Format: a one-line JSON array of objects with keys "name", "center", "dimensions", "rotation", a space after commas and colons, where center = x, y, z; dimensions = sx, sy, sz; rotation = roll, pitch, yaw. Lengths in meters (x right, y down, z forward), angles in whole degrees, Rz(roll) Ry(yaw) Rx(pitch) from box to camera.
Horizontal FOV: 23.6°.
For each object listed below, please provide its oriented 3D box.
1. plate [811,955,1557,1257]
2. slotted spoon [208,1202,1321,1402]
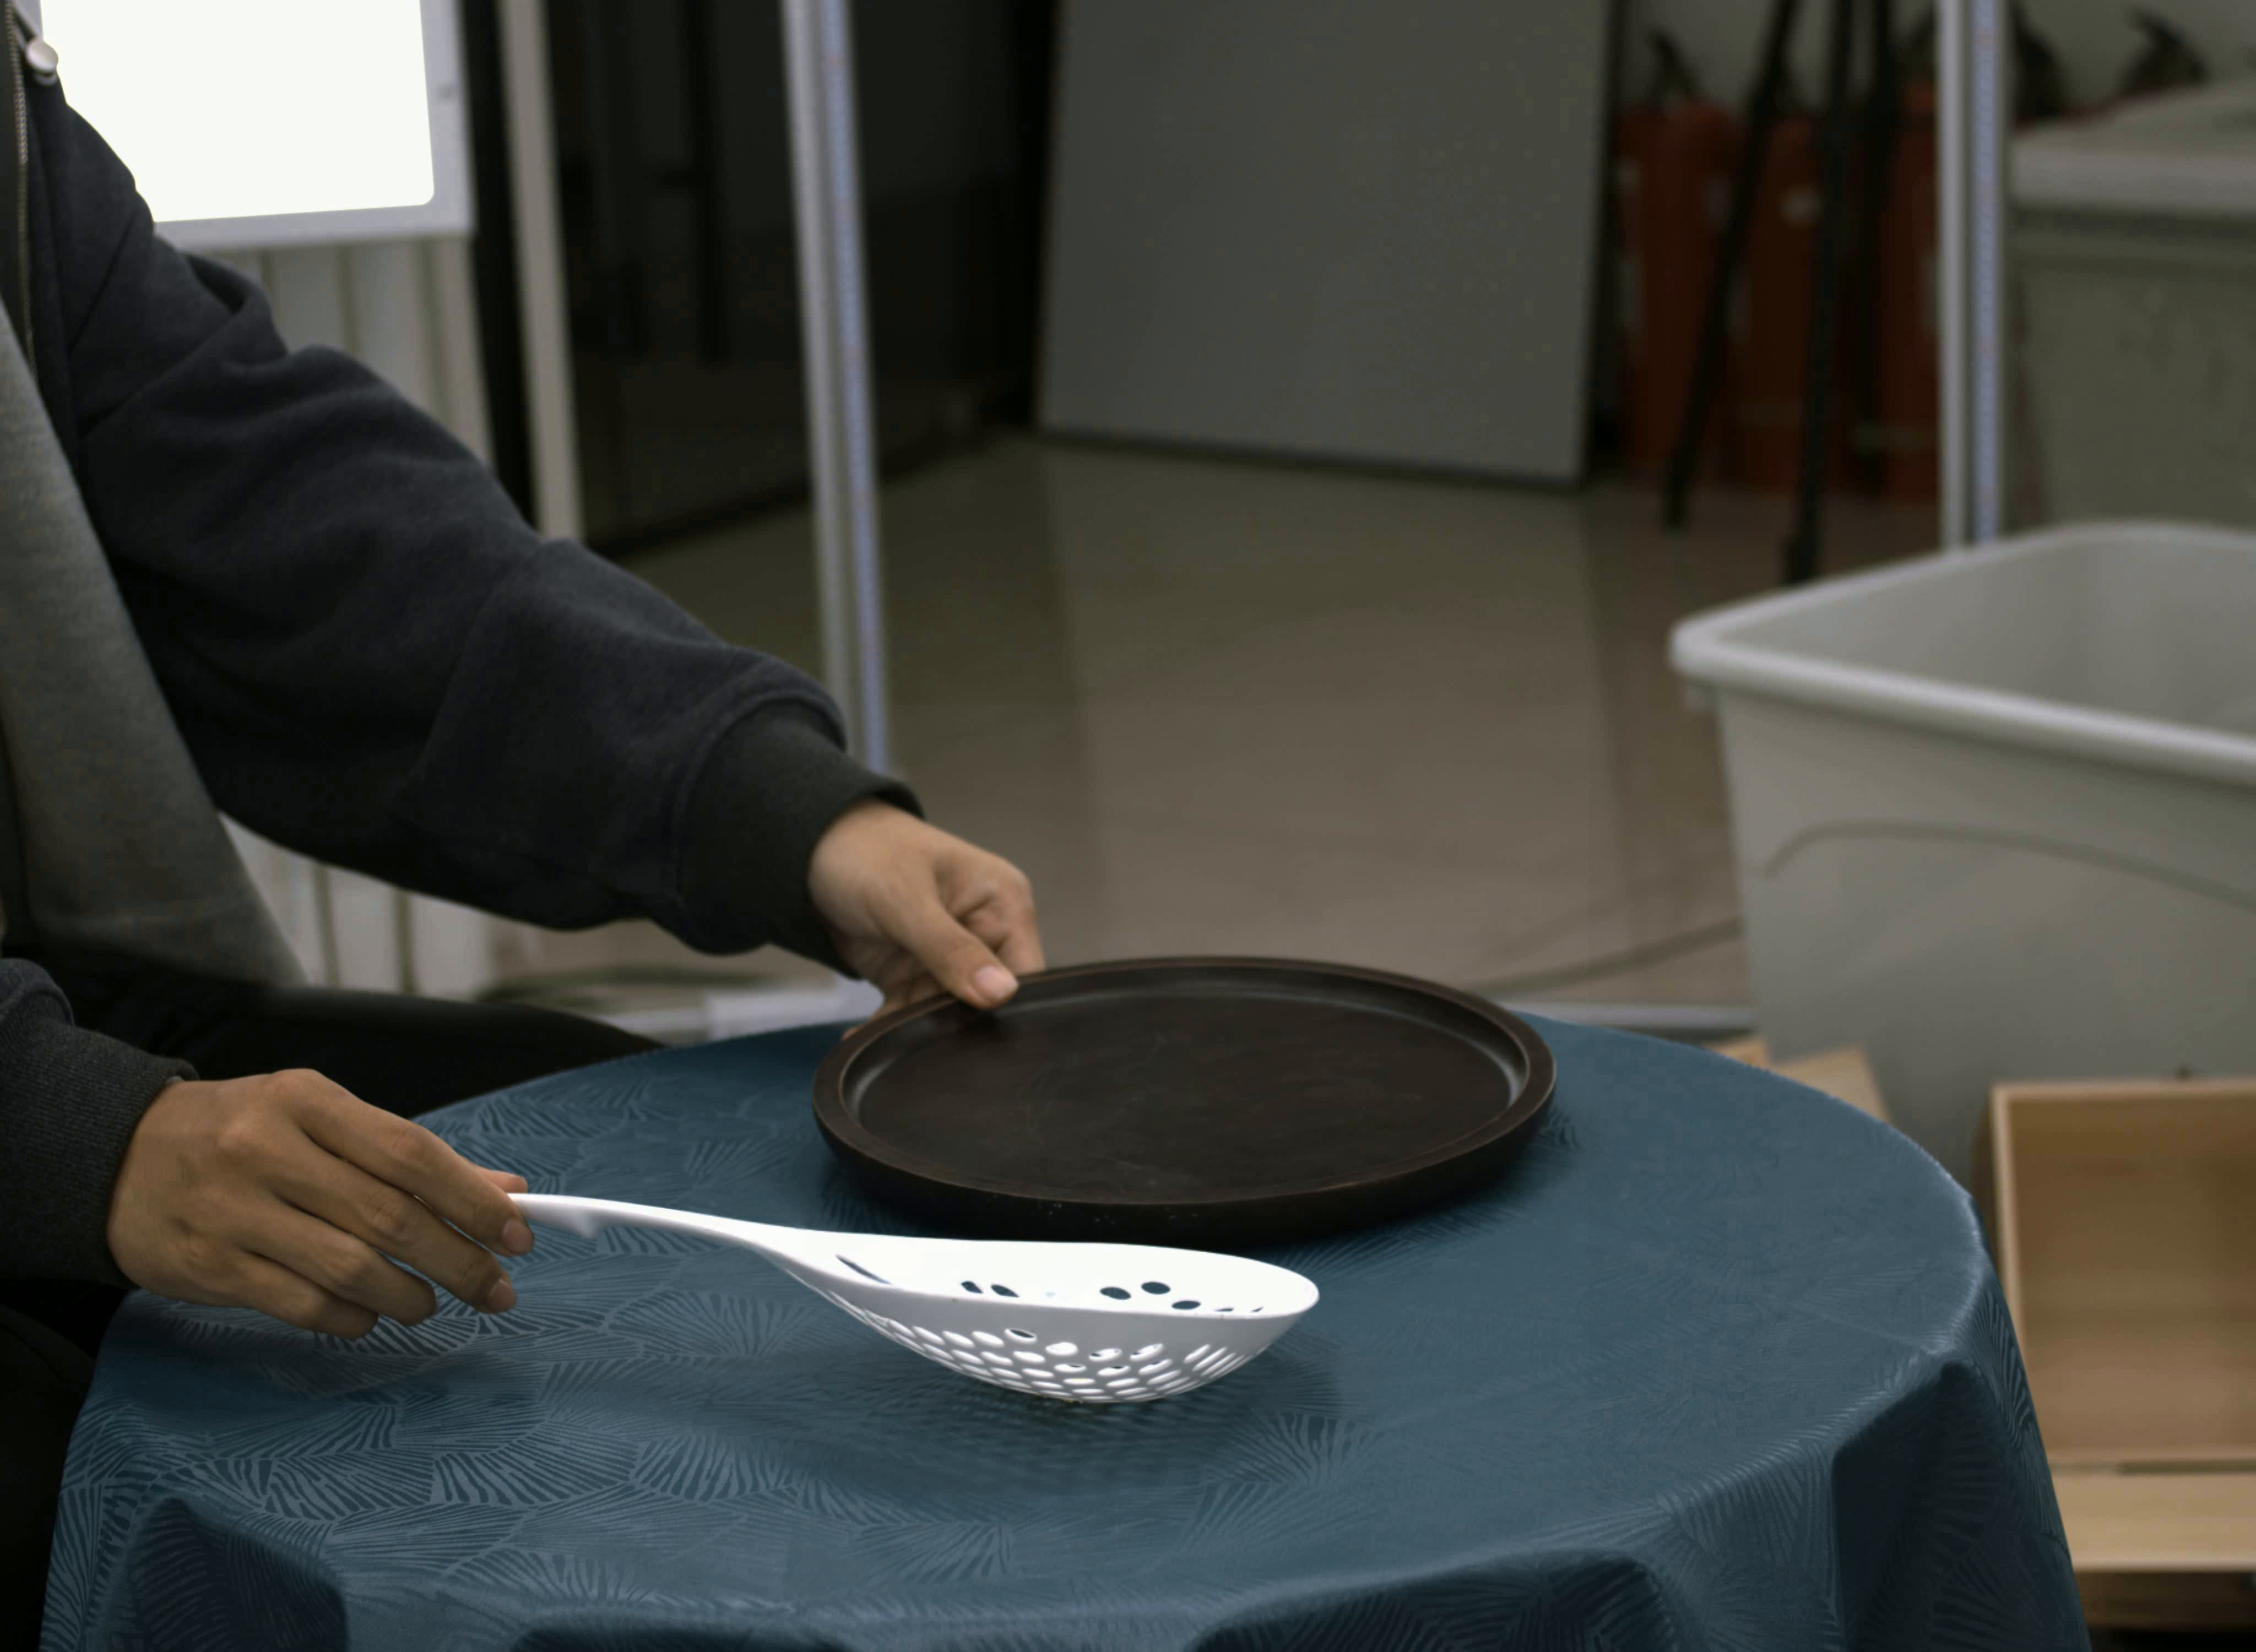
[{"name": "plate", "center": [0.019, 0.093, 1.807], "dimensions": [0.251, 0.029, 0.255], "rotation": [-3, 17, 0]}, {"name": "slotted spoon", "center": [-0.113, 0.131, 1.610], "dimensions": [0.347, 0.051, 0.135], "rotation": [9, 6, 19]}]
